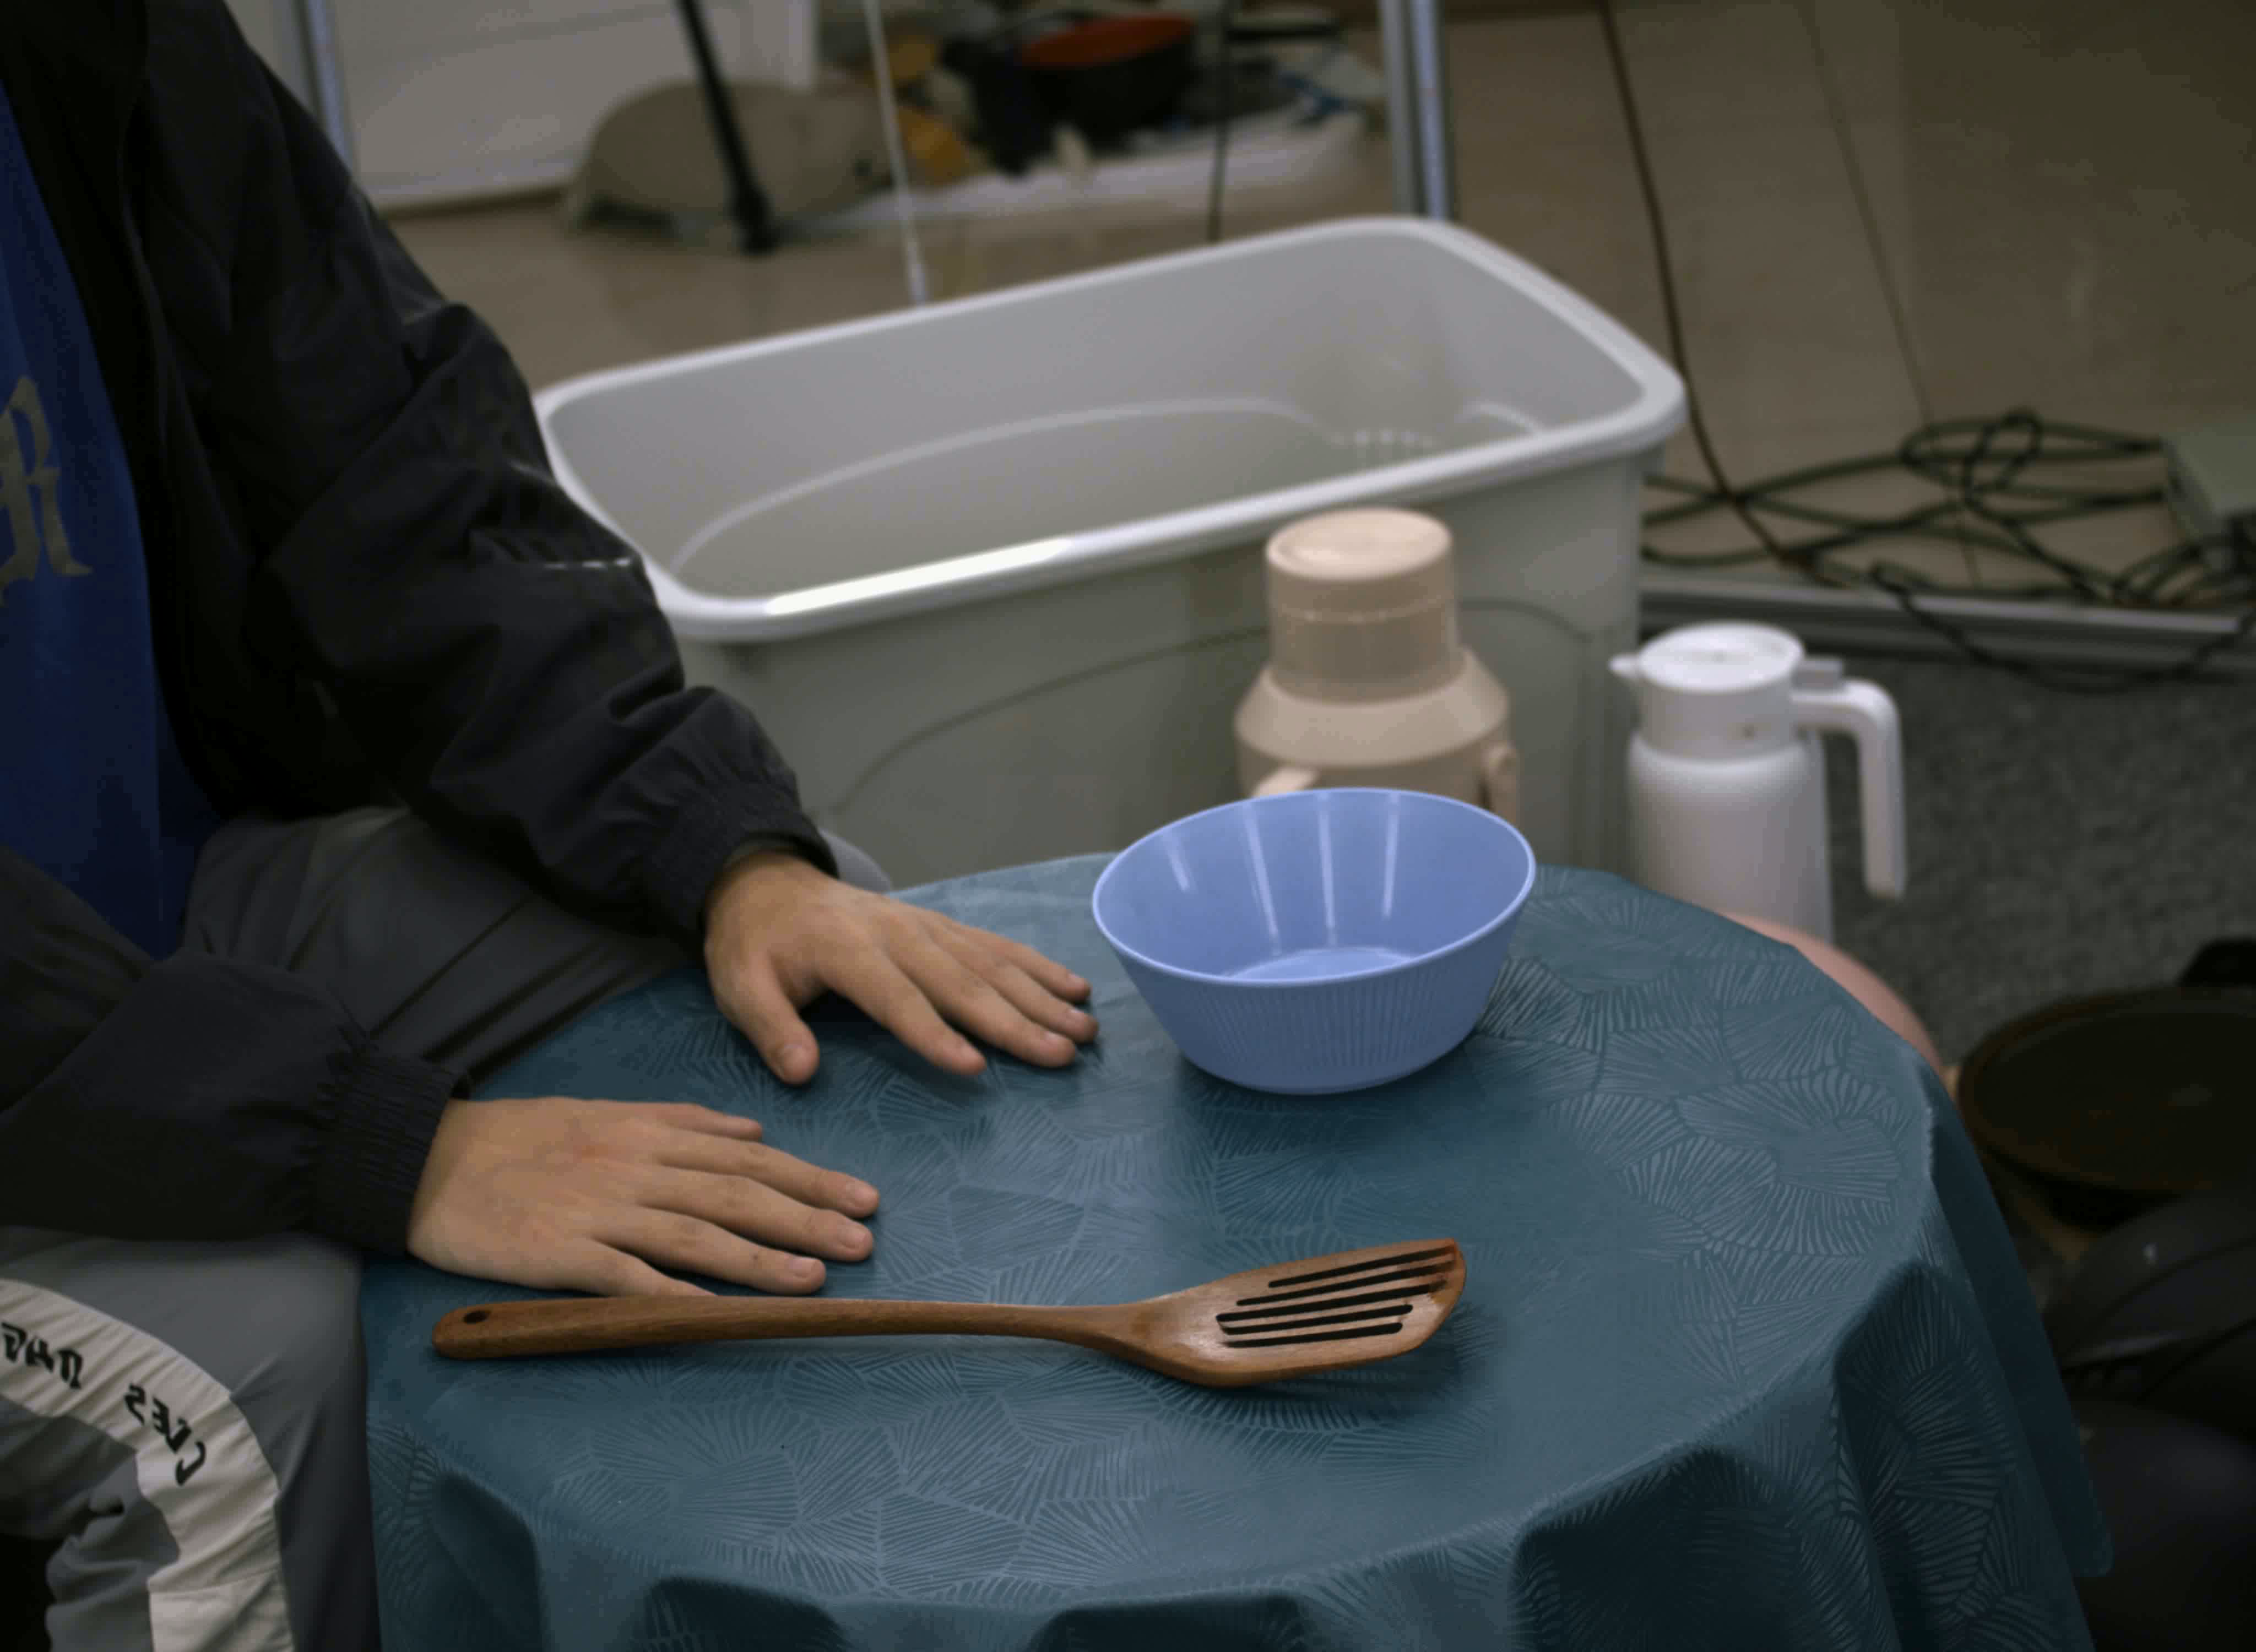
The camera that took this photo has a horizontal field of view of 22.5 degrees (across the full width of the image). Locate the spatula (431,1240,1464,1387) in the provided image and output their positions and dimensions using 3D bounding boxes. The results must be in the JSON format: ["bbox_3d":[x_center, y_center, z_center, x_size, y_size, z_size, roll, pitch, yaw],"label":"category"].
[{"bbox_3d":[-0.069,0.180,2.052,0.386,0.024,0.084,-2,24,14],"label":"spatula"}]

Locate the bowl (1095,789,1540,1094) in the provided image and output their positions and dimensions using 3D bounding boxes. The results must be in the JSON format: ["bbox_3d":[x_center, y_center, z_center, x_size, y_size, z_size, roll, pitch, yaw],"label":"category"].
[{"bbox_3d":[0.077,0.051,2.233,0.176,0.071,0.173,-6,24,3],"label":"bowl"}]
